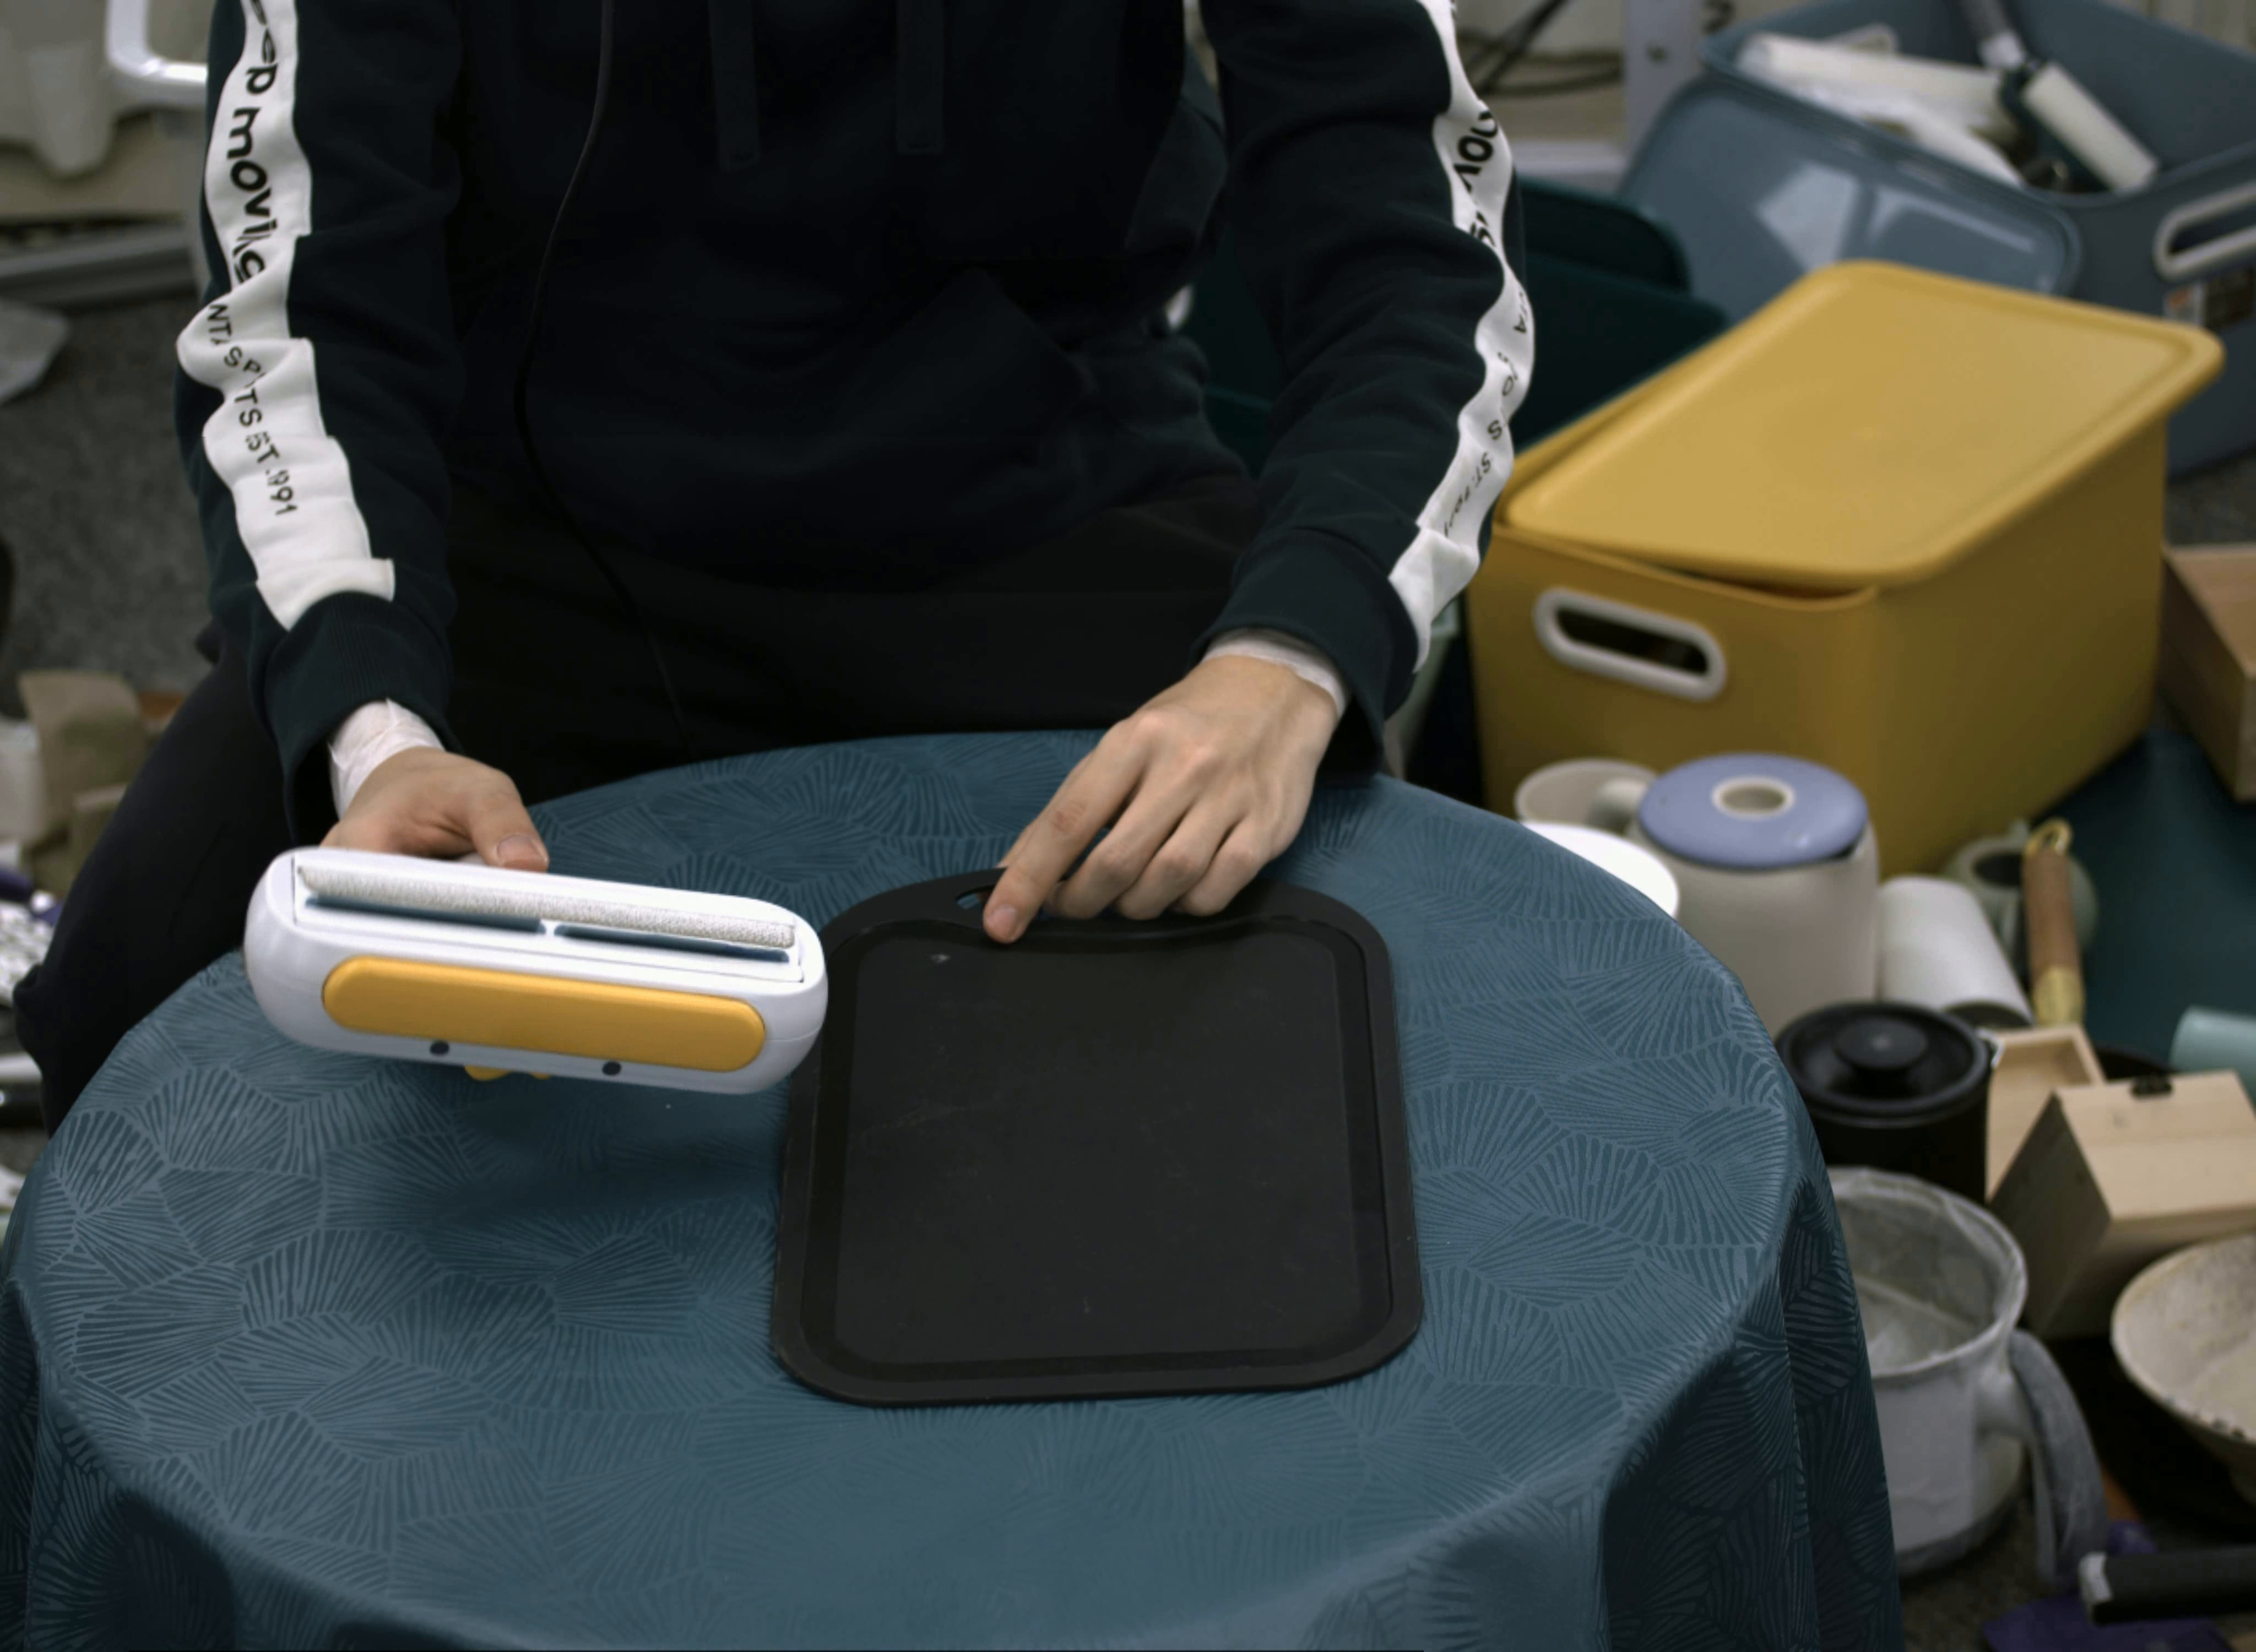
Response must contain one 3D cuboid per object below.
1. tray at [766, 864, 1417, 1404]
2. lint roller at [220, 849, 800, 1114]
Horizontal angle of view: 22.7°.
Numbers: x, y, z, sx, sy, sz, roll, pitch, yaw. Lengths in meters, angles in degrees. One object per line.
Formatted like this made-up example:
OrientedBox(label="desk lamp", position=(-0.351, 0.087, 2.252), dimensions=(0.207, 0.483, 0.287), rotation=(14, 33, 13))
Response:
OrientedBox(label="tray", position=(-0.012, 0.096, 1.891), dimensions=(0.210, 0.009, 0.331), rotation=(-1, 30, 1))
OrientedBox(label="lint roller", position=(-0.212, 0.049, 1.910), dimensions=(0.192, 0.074, 0.193), rotation=(8, 8, -9))
